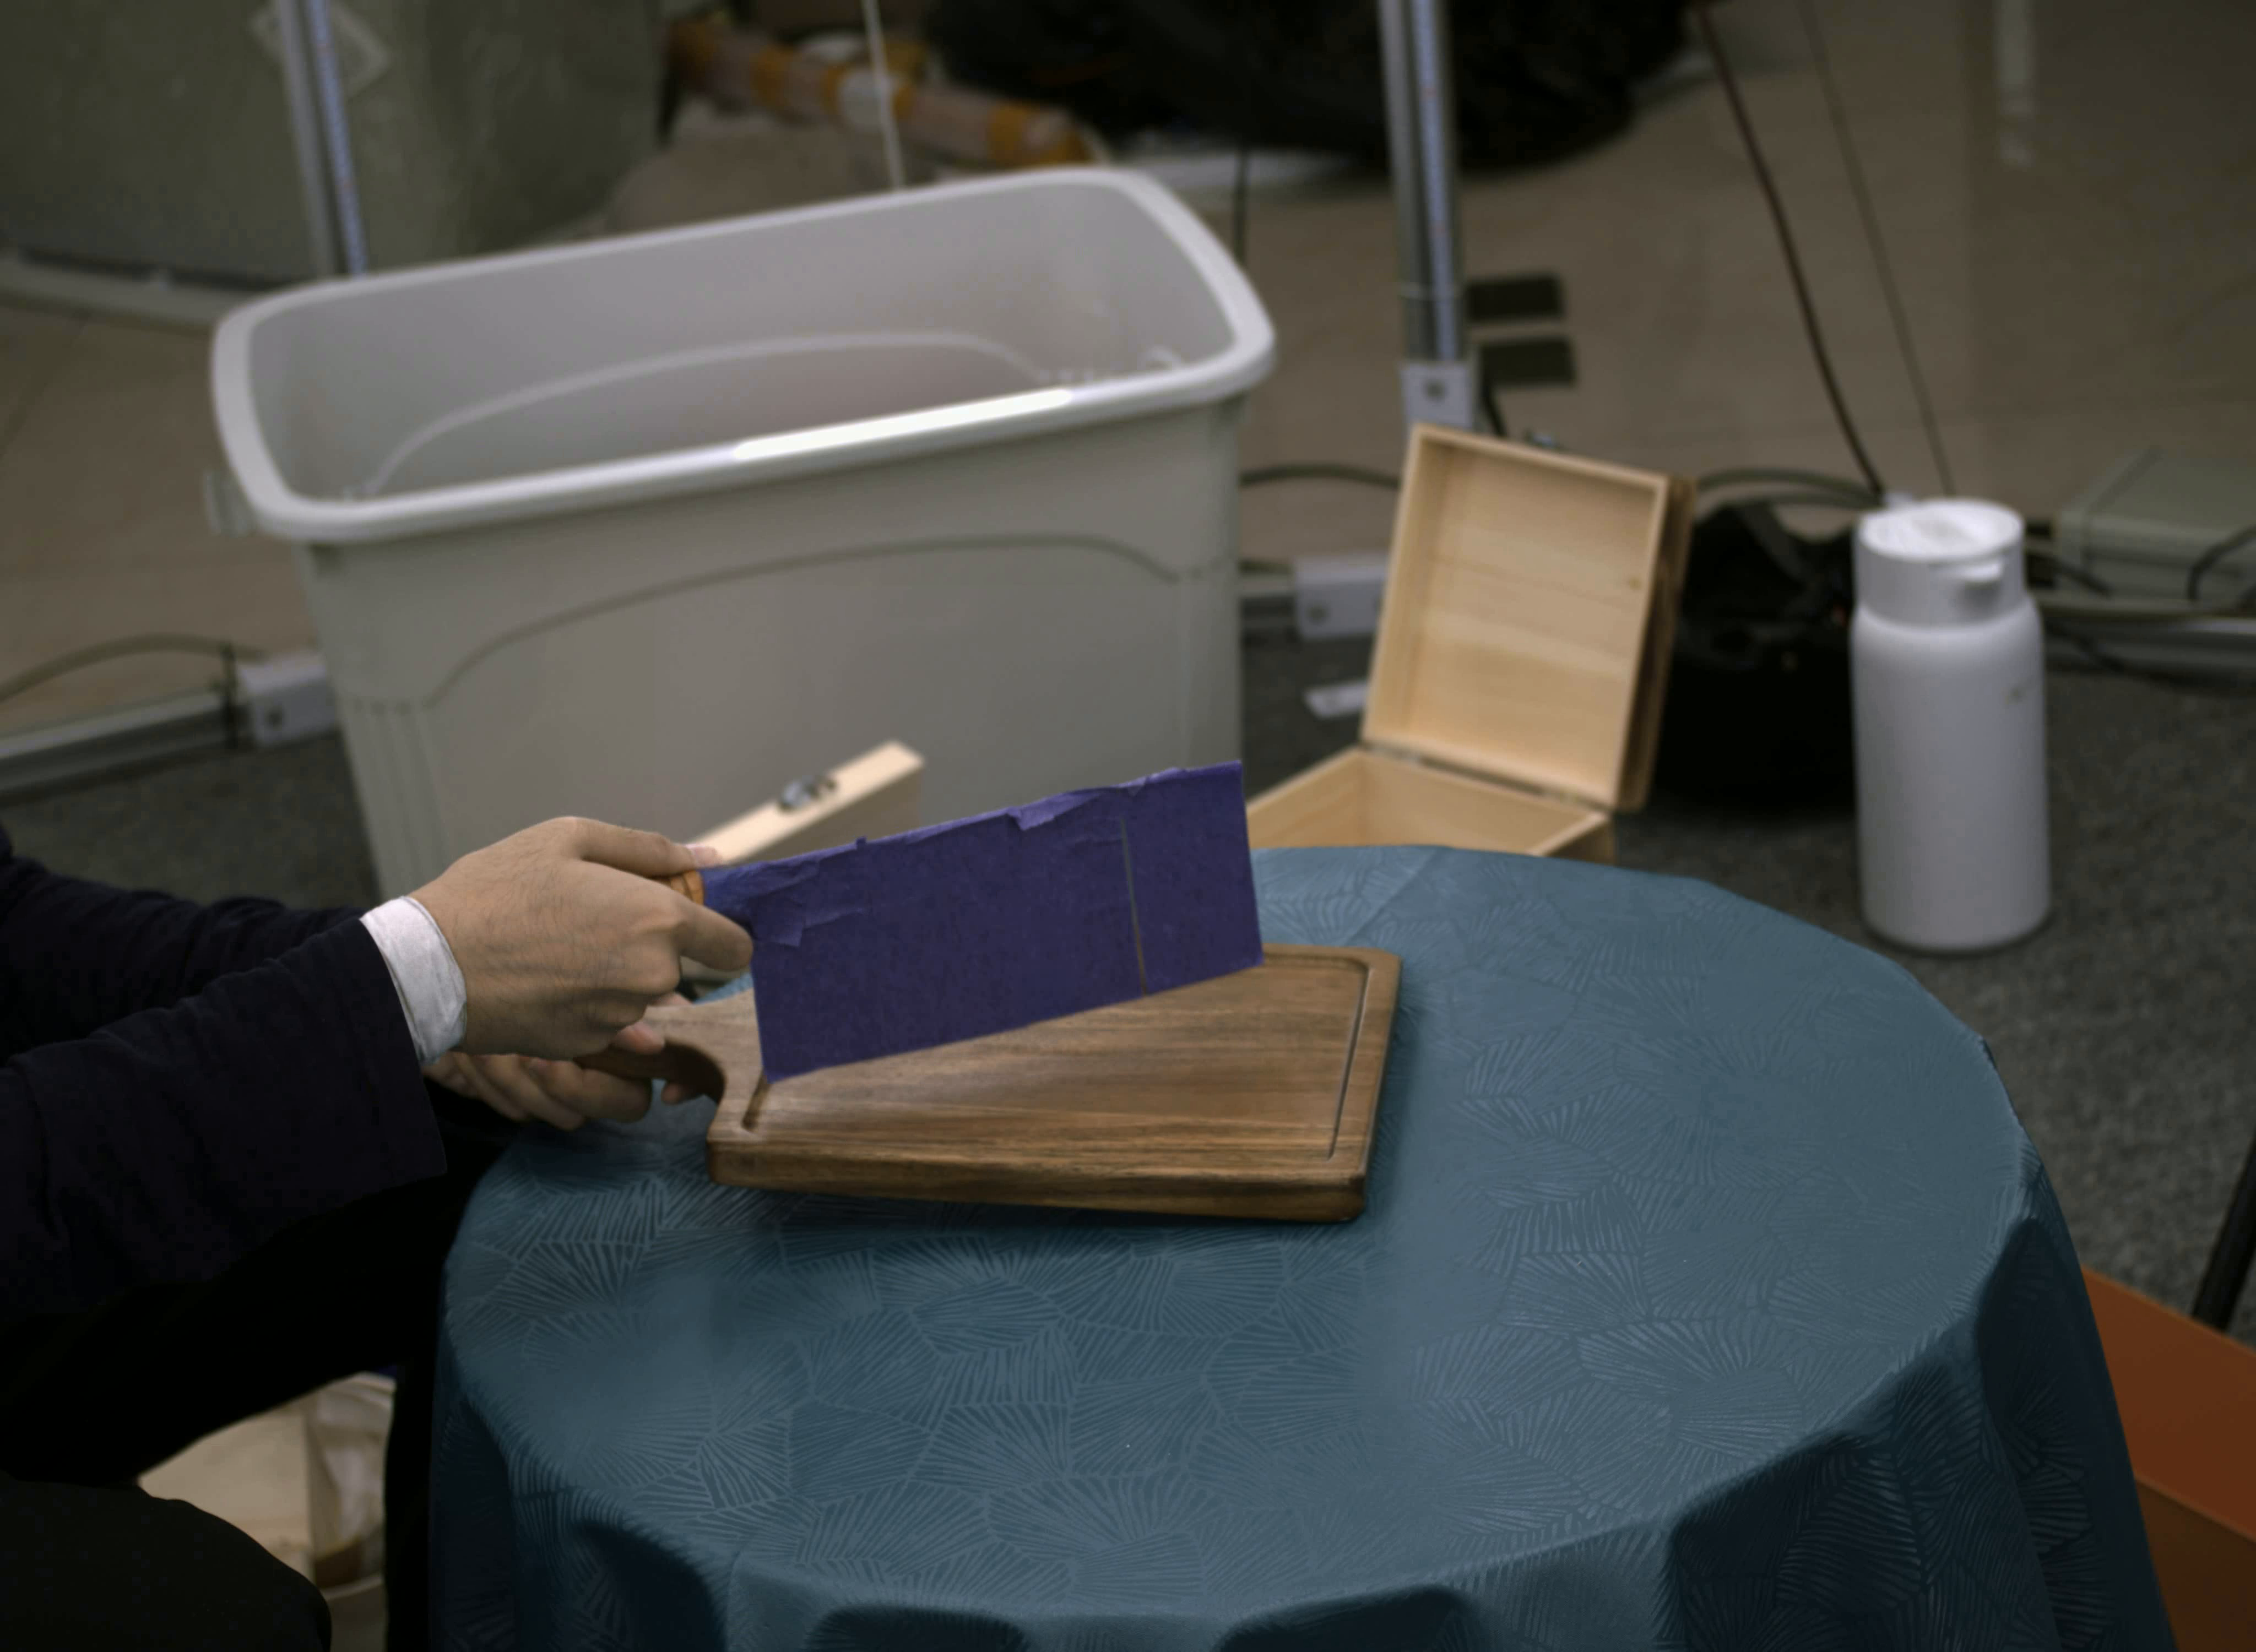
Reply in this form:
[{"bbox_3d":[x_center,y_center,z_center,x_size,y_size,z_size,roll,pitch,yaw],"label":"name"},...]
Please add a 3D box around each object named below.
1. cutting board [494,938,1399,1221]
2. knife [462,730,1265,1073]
[{"bbox_3d":[-0.074,0.090,2.210,0.351,0.023,0.198,3,26,7],"label":"cutting board"},{"bbox_3d":[-0.094,0.044,2.158,0.314,0.105,0.032,-13,25,-15],"label":"knife"}]
